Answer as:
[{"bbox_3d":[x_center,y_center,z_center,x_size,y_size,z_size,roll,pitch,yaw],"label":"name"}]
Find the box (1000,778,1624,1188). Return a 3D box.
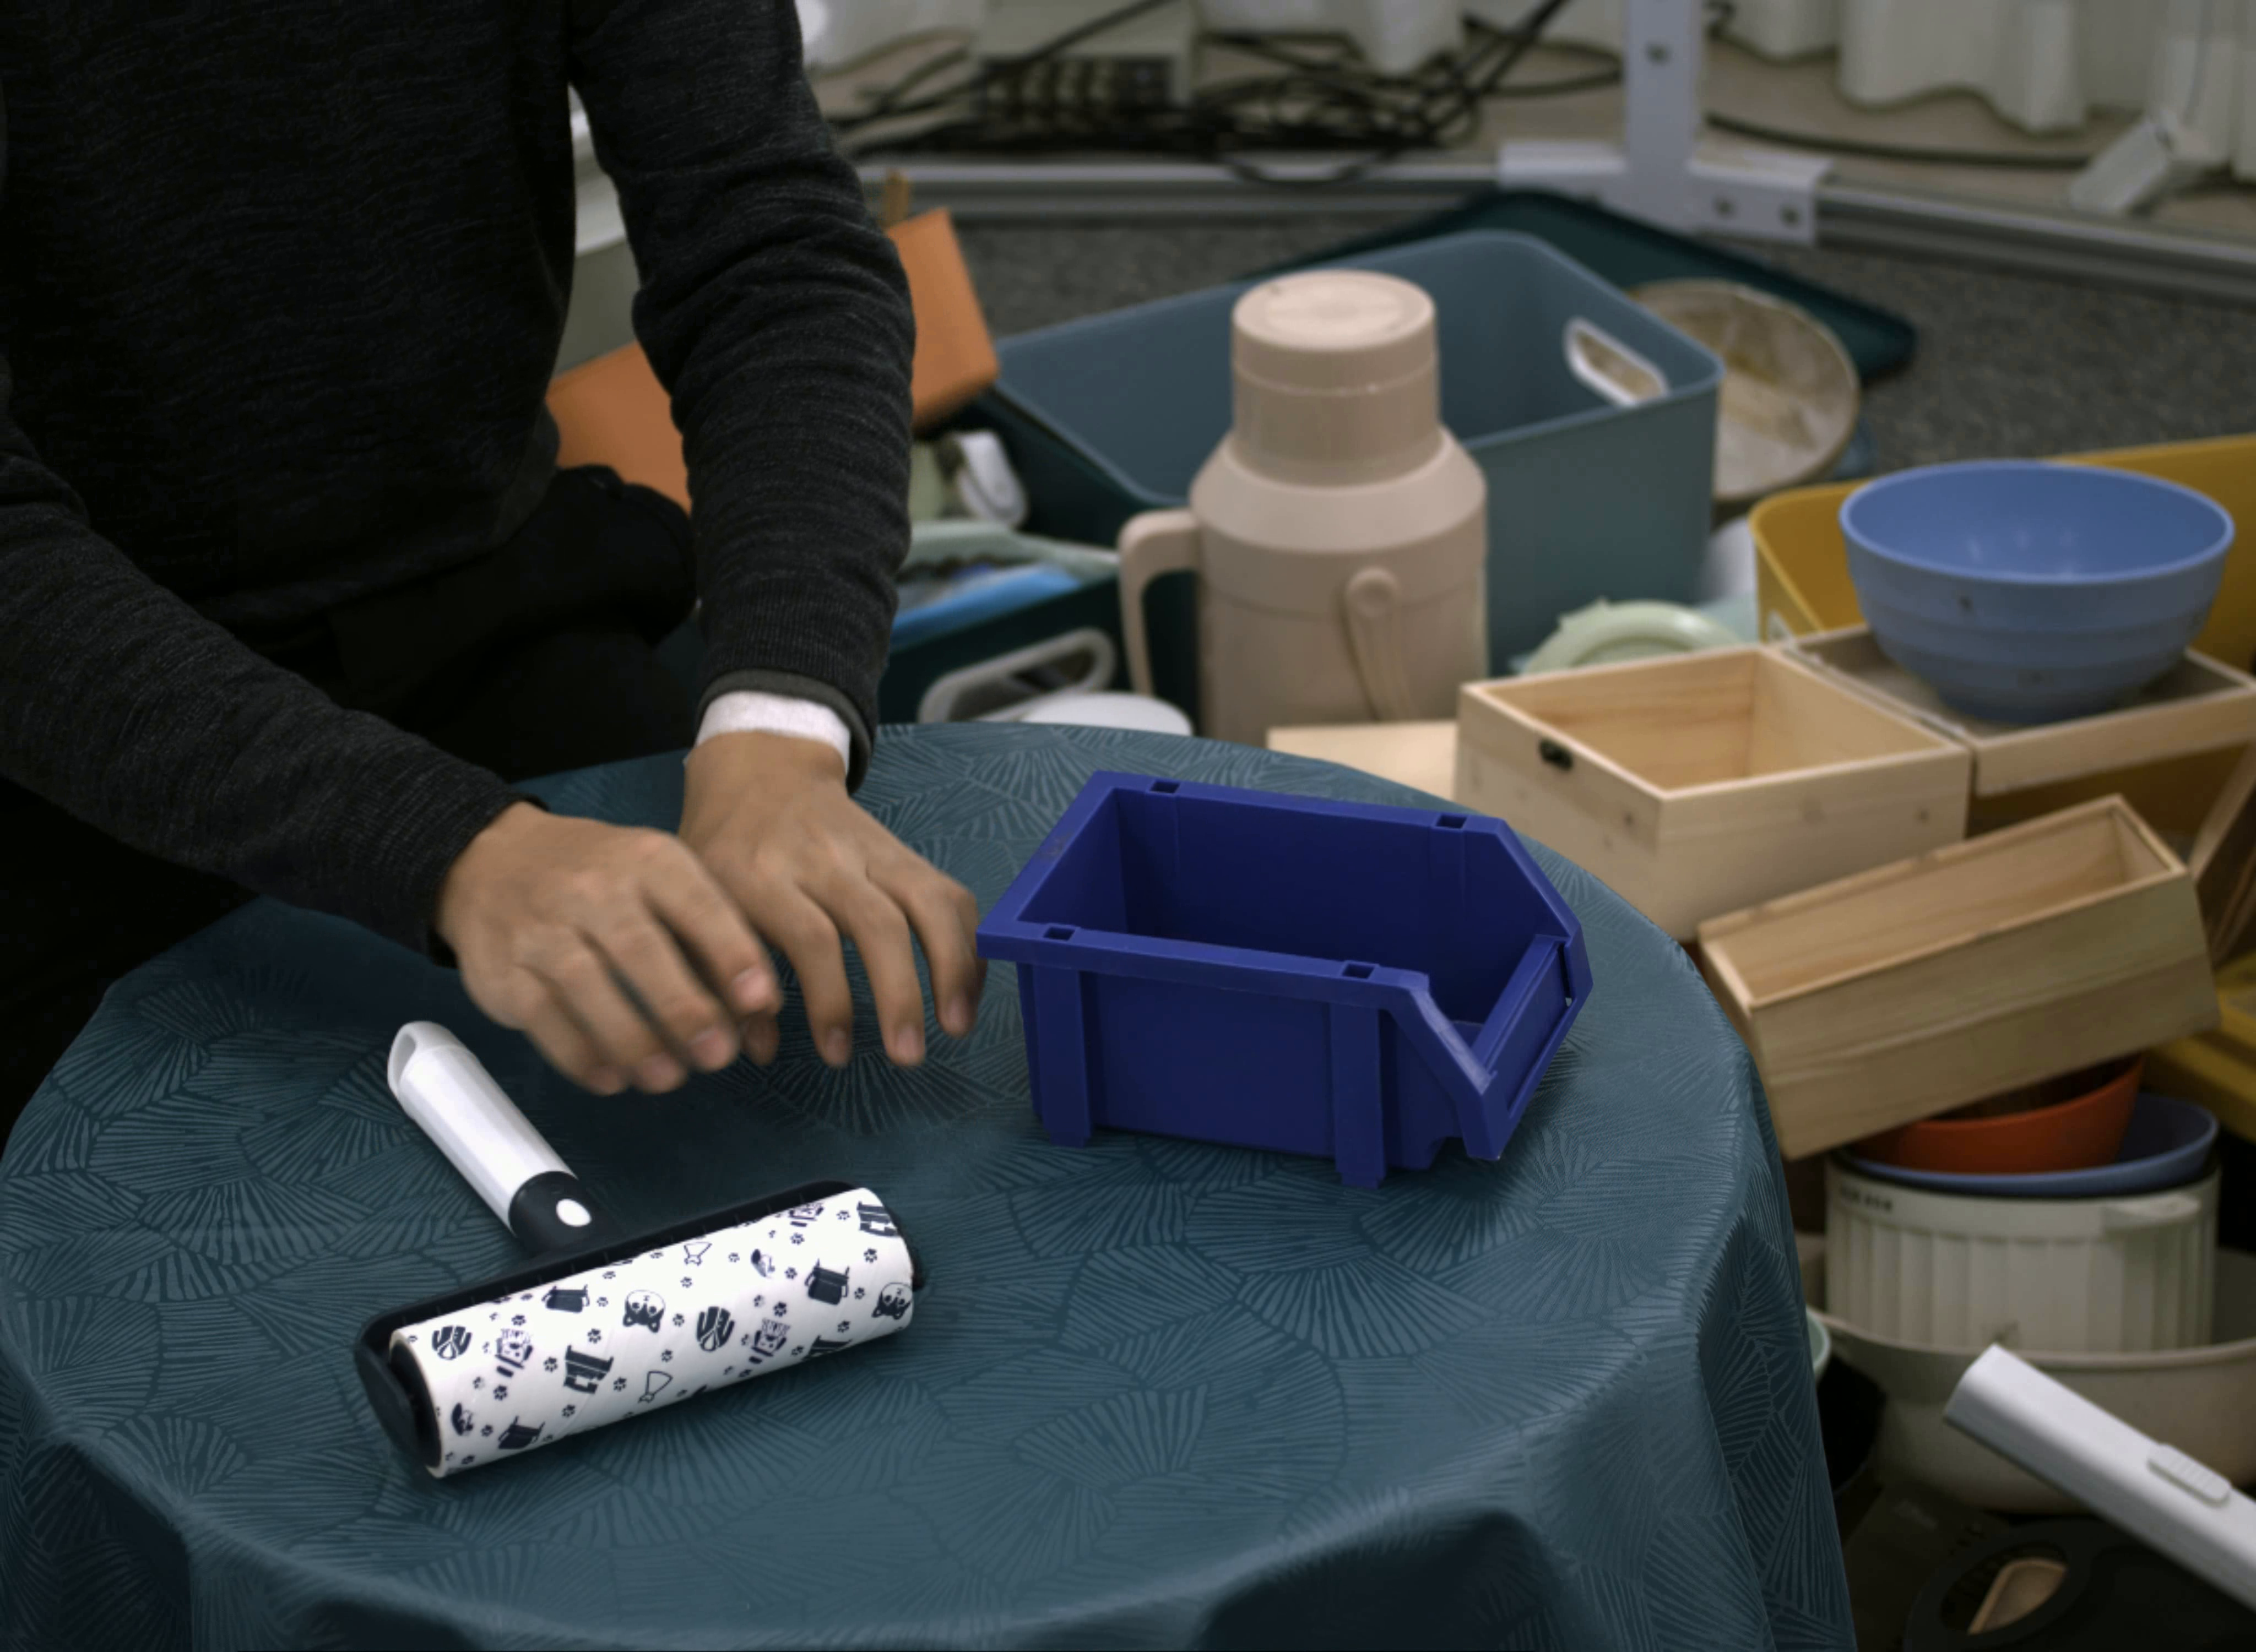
[{"bbox_3d":[0.065,0.052,1.901,0.178,0.081,0.126,5,27,20],"label":"box"}]

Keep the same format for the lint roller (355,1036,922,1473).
[{"bbox_3d":[-0.196,0.120,1.837,0.177,0.050,0.248,-17,29,-23],"label":"lint roller"}]
